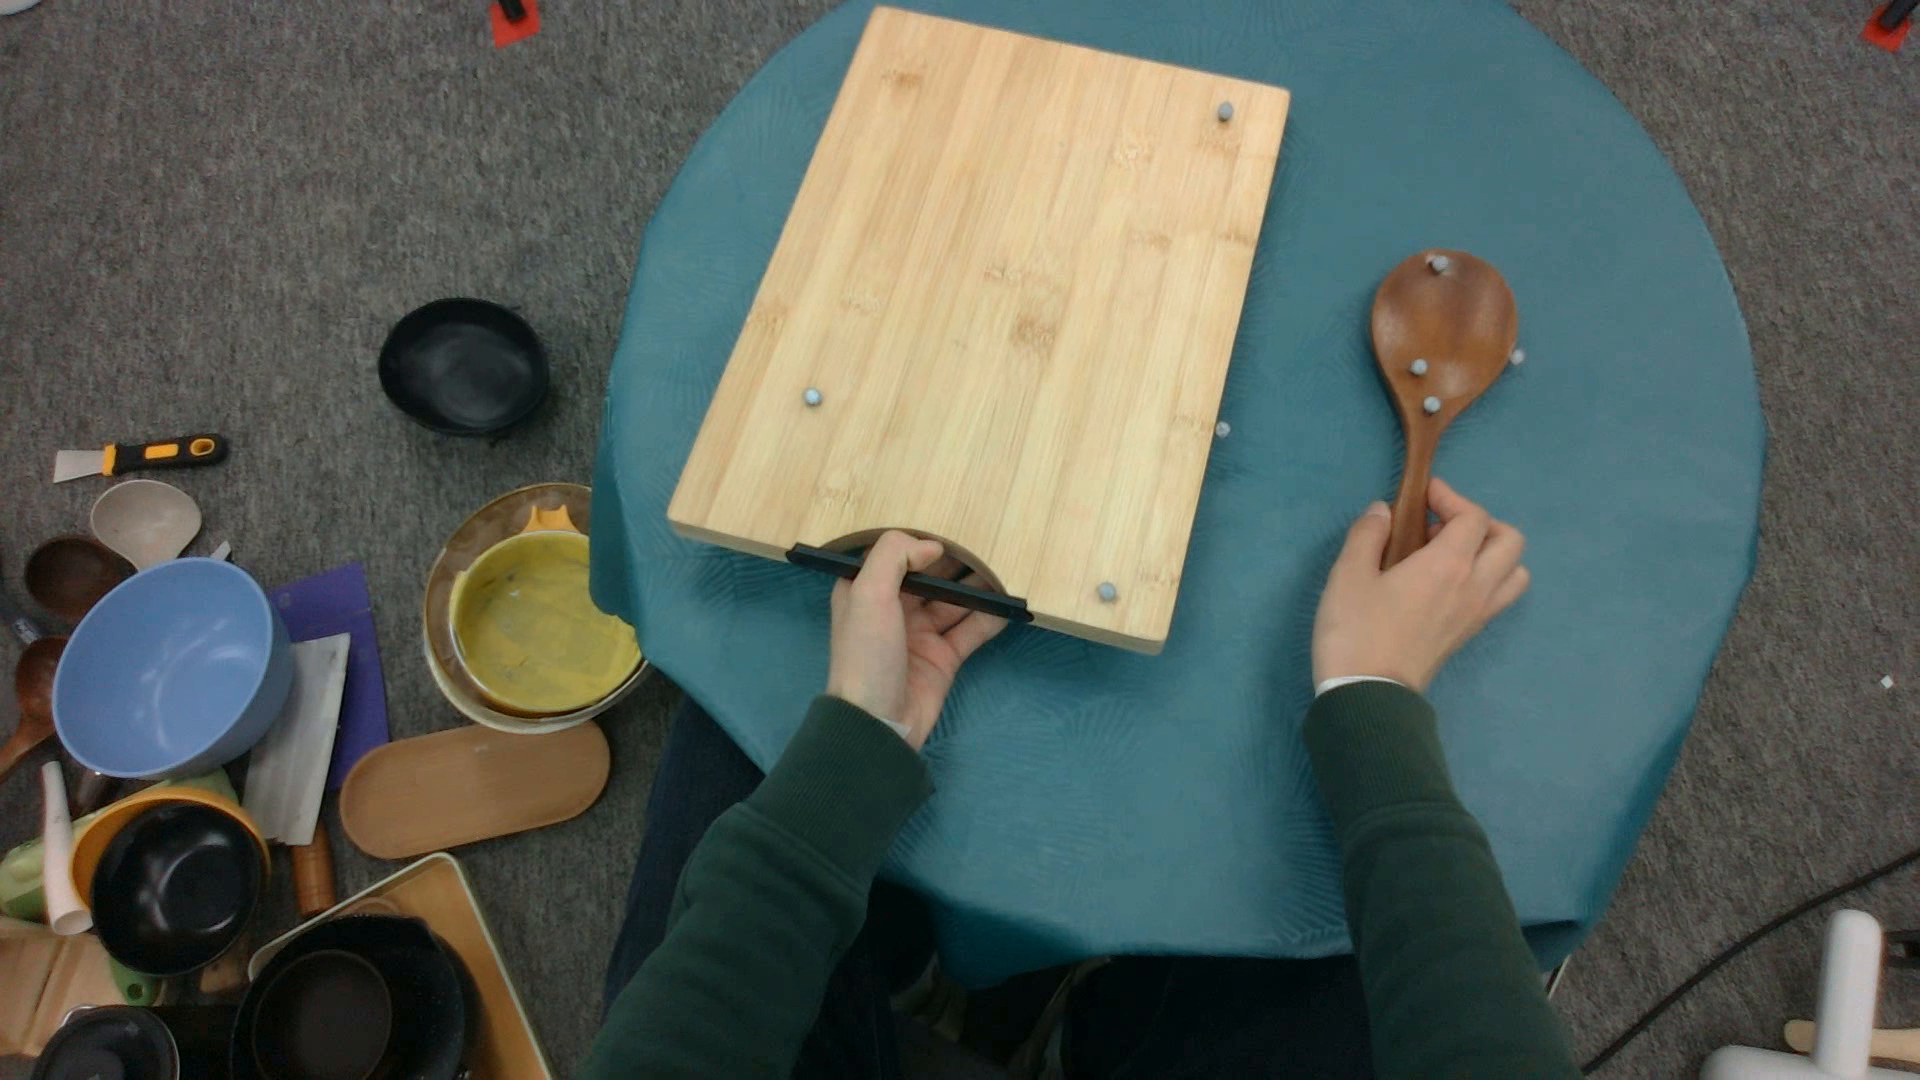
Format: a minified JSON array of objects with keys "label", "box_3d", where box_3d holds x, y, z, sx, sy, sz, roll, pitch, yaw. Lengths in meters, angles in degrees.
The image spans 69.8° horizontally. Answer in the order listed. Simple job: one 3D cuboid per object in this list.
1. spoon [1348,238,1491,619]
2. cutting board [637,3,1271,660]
[{"label":"spoon","box_3d":[0.225,-0.060,0.700,0.075,0.017,0.216,14,69,4]},{"label":"cutting board","box_3d":[0.011,-0.125,0.707,0.250,0.023,0.350,12,64,6]}]
